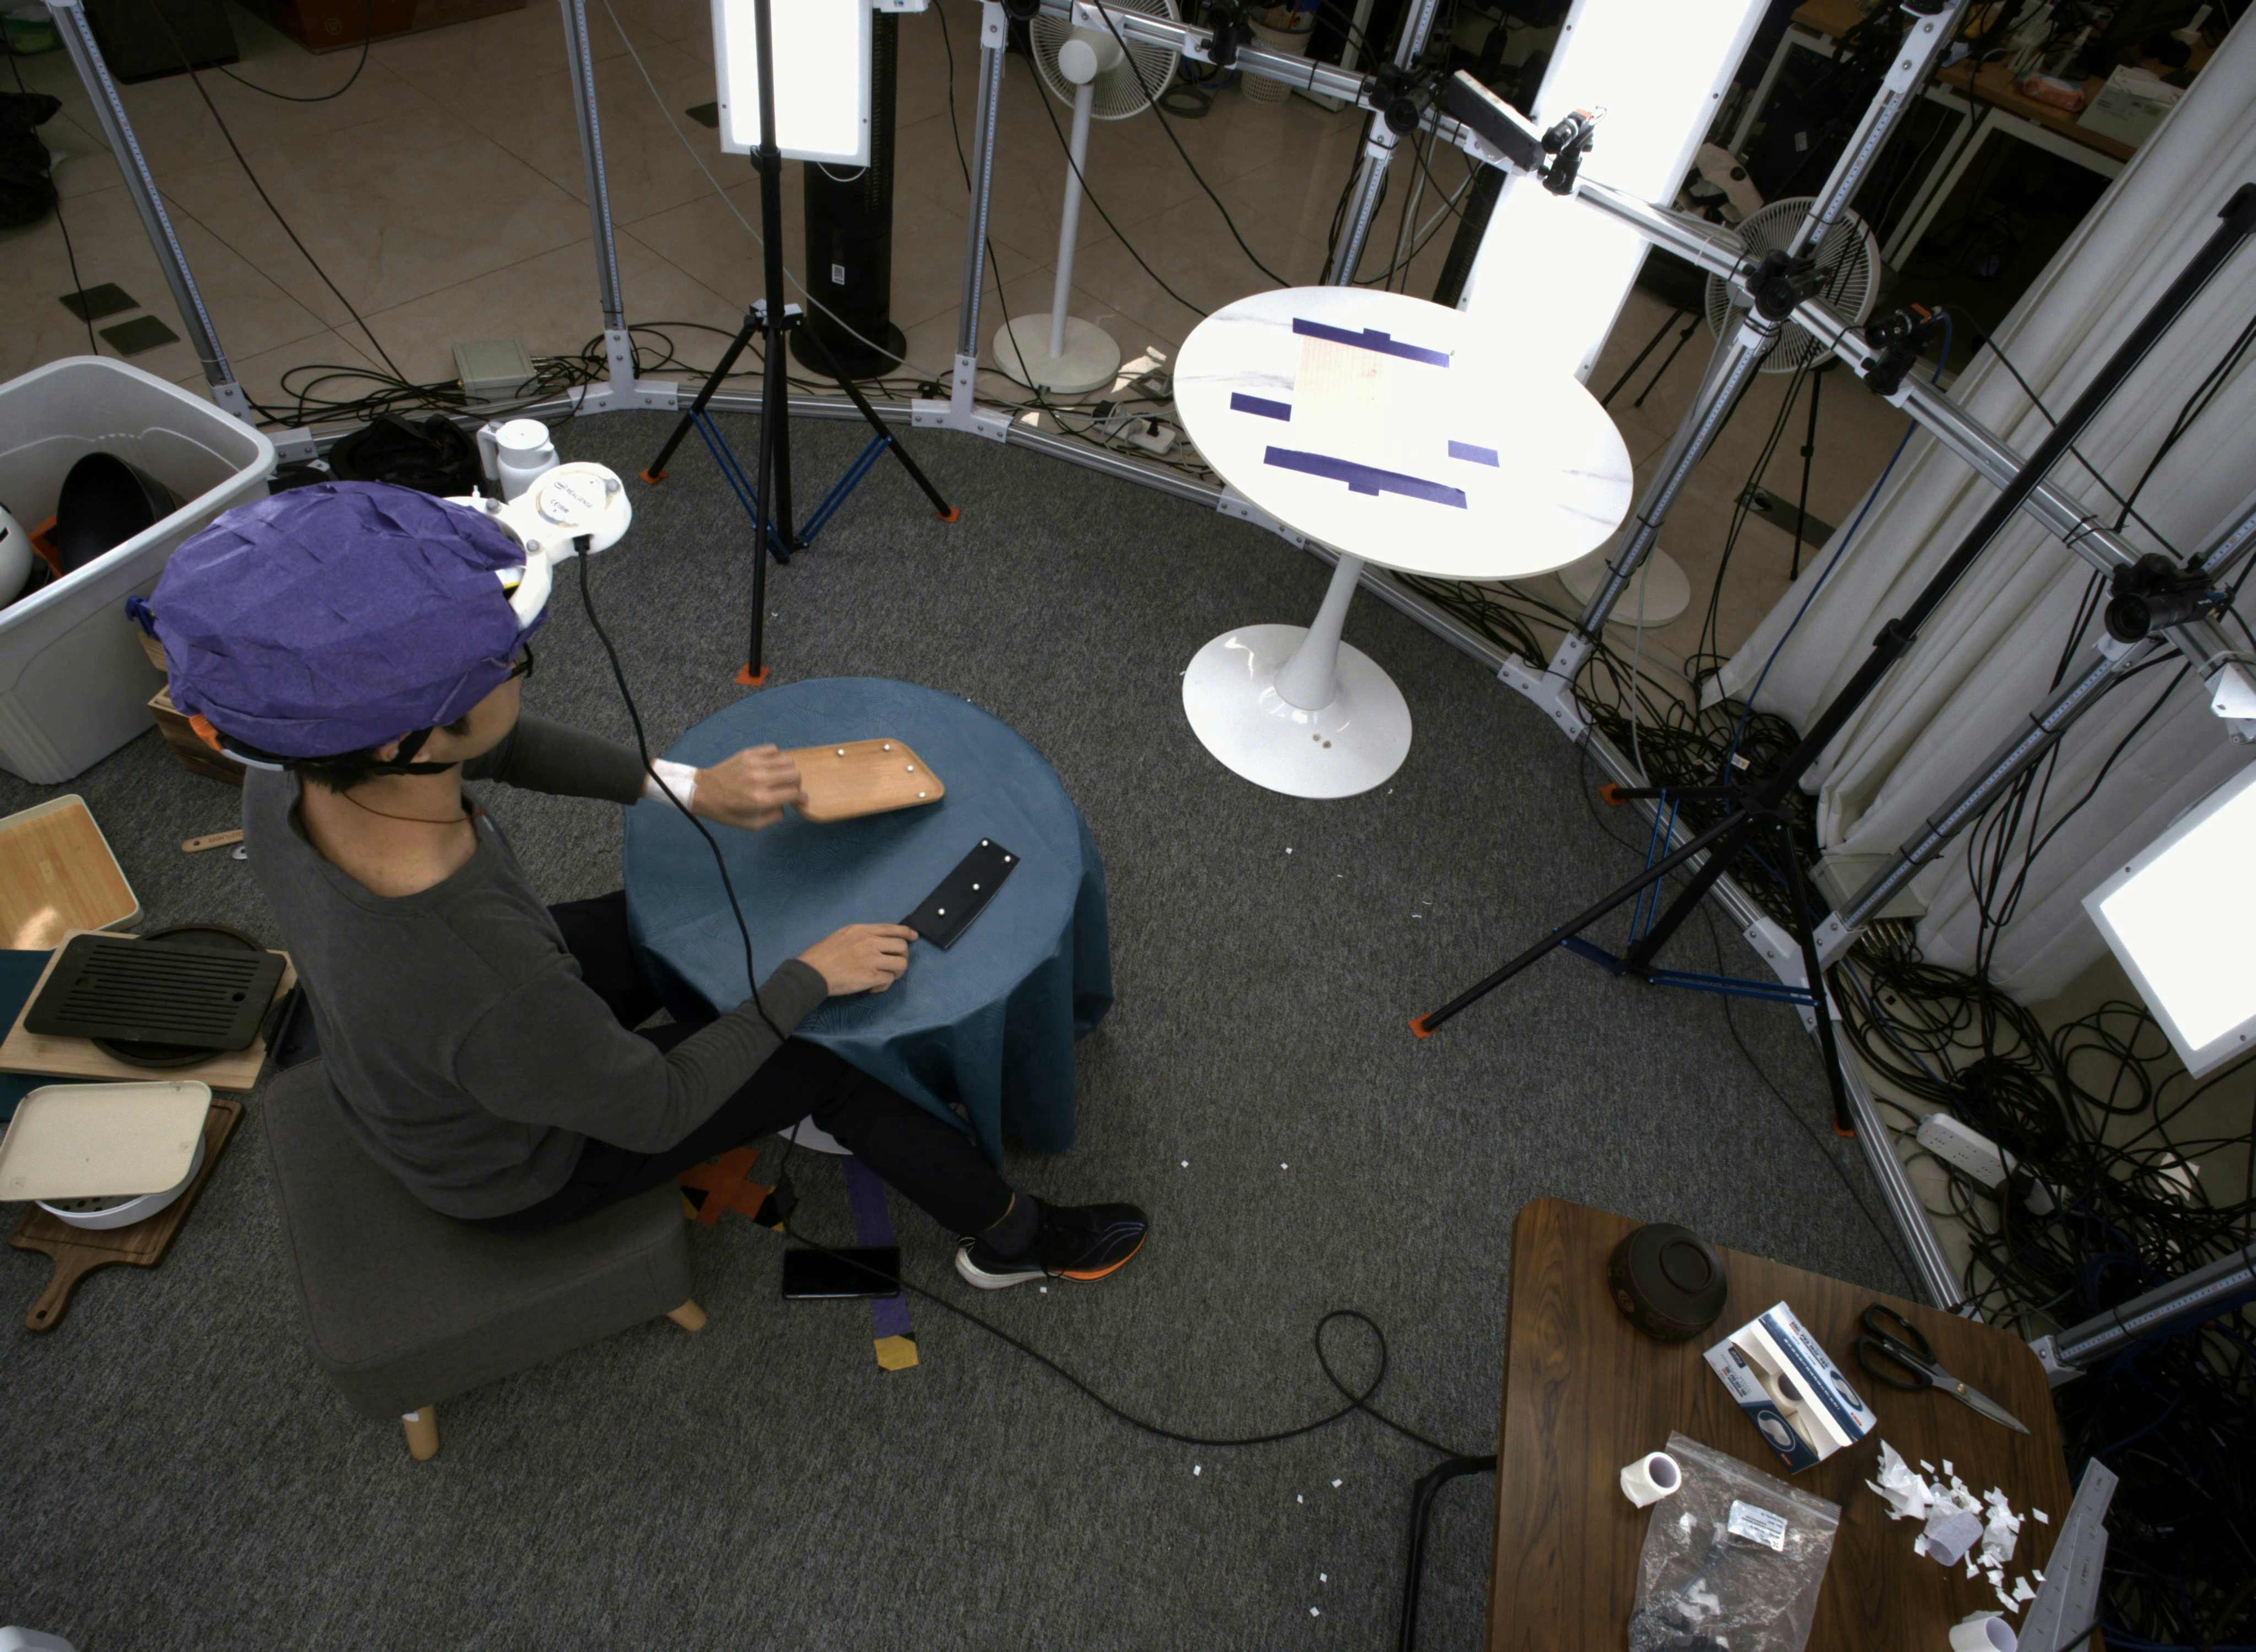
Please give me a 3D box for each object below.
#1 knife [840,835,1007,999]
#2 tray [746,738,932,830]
[{"bbox_3d":[-0.263,0.115,1.682,0.079,0.021,0.302,36,52,11],"label":"knife"},{"bbox_3d":[-0.379,-0.058,1.721,0.127,0.023,0.253,43,34,21],"label":"tray"}]
